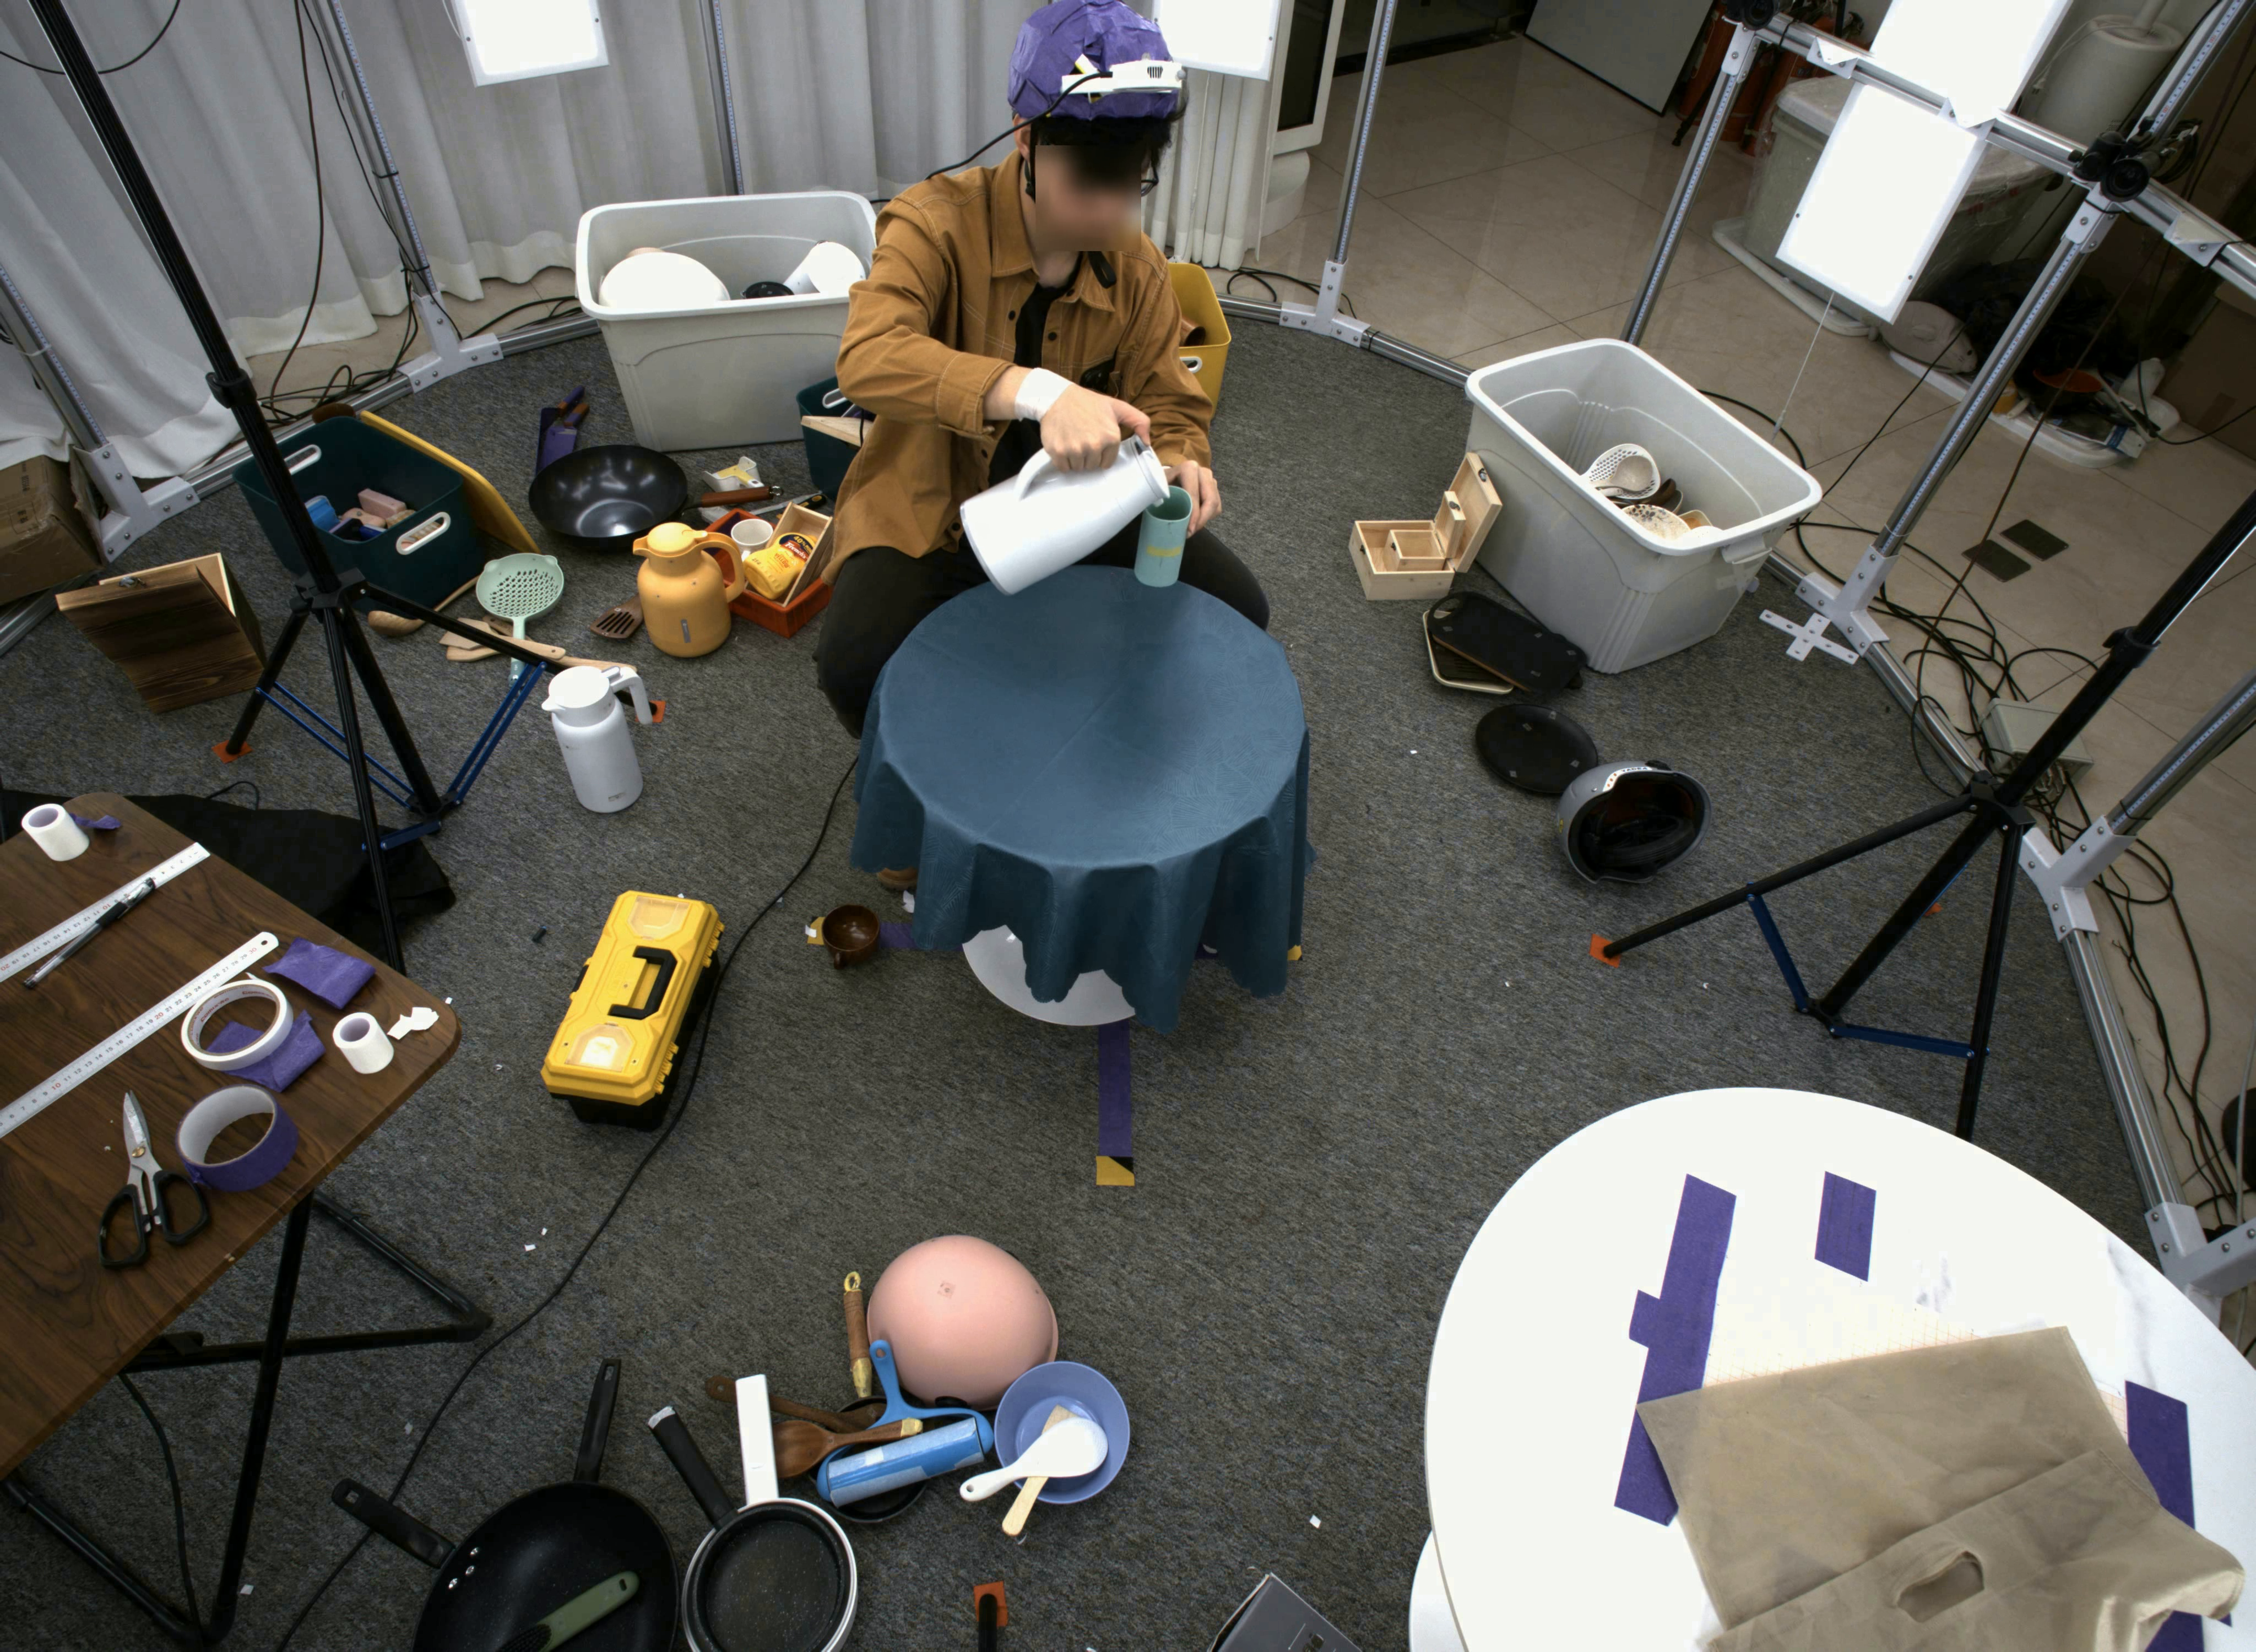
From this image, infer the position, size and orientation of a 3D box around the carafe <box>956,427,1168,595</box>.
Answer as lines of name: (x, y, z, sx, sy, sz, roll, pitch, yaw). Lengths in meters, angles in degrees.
carafe: (-0.081, -0.407, 1.597, 0.248, 0.164, 0.135, -24, 61, 14)

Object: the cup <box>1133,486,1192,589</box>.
cup: (0.045, -0.382, 1.707, 0.066, 0.129, 0.068, 3, 59, -5)
